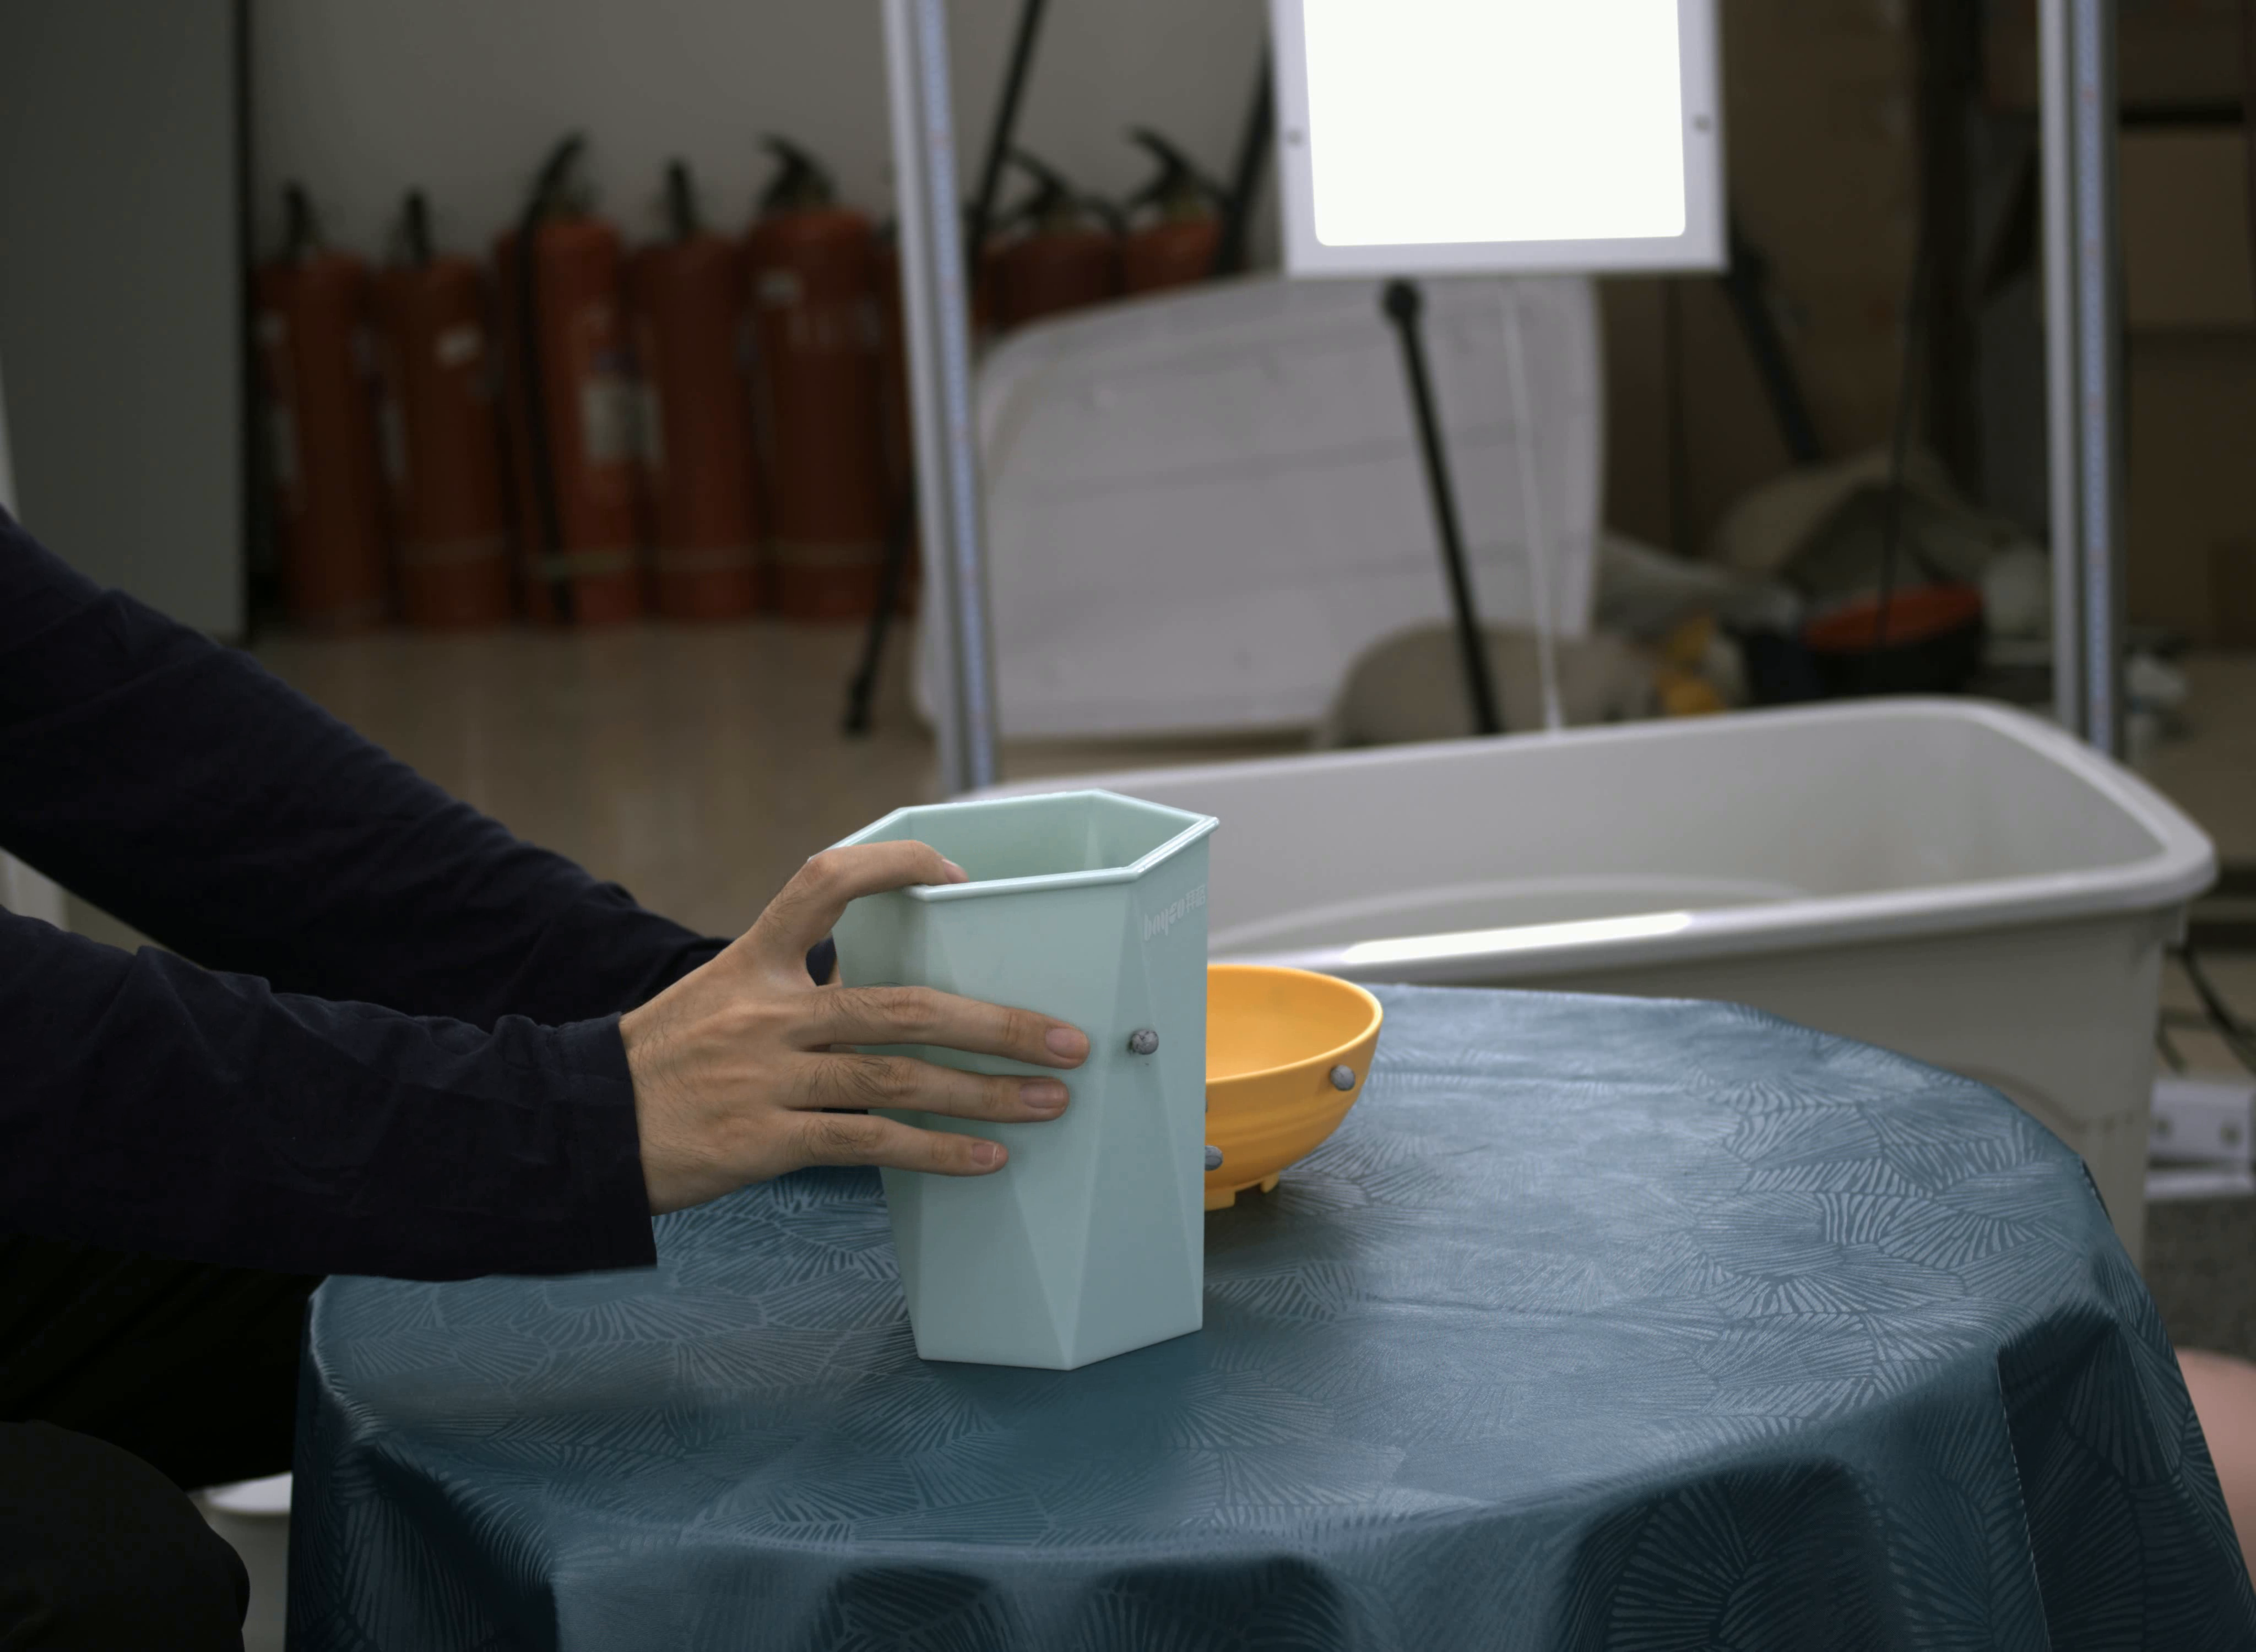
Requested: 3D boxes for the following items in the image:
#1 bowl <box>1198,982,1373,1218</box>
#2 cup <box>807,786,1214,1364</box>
[{"bbox_3d":[0.015,0.099,1.895,0.145,0.060,0.145,-6,12,0],"label":"bowl"},{"bbox_3d":[-0.029,0.079,1.756,0.117,0.163,0.128,0,14,24],"label":"cup"}]
